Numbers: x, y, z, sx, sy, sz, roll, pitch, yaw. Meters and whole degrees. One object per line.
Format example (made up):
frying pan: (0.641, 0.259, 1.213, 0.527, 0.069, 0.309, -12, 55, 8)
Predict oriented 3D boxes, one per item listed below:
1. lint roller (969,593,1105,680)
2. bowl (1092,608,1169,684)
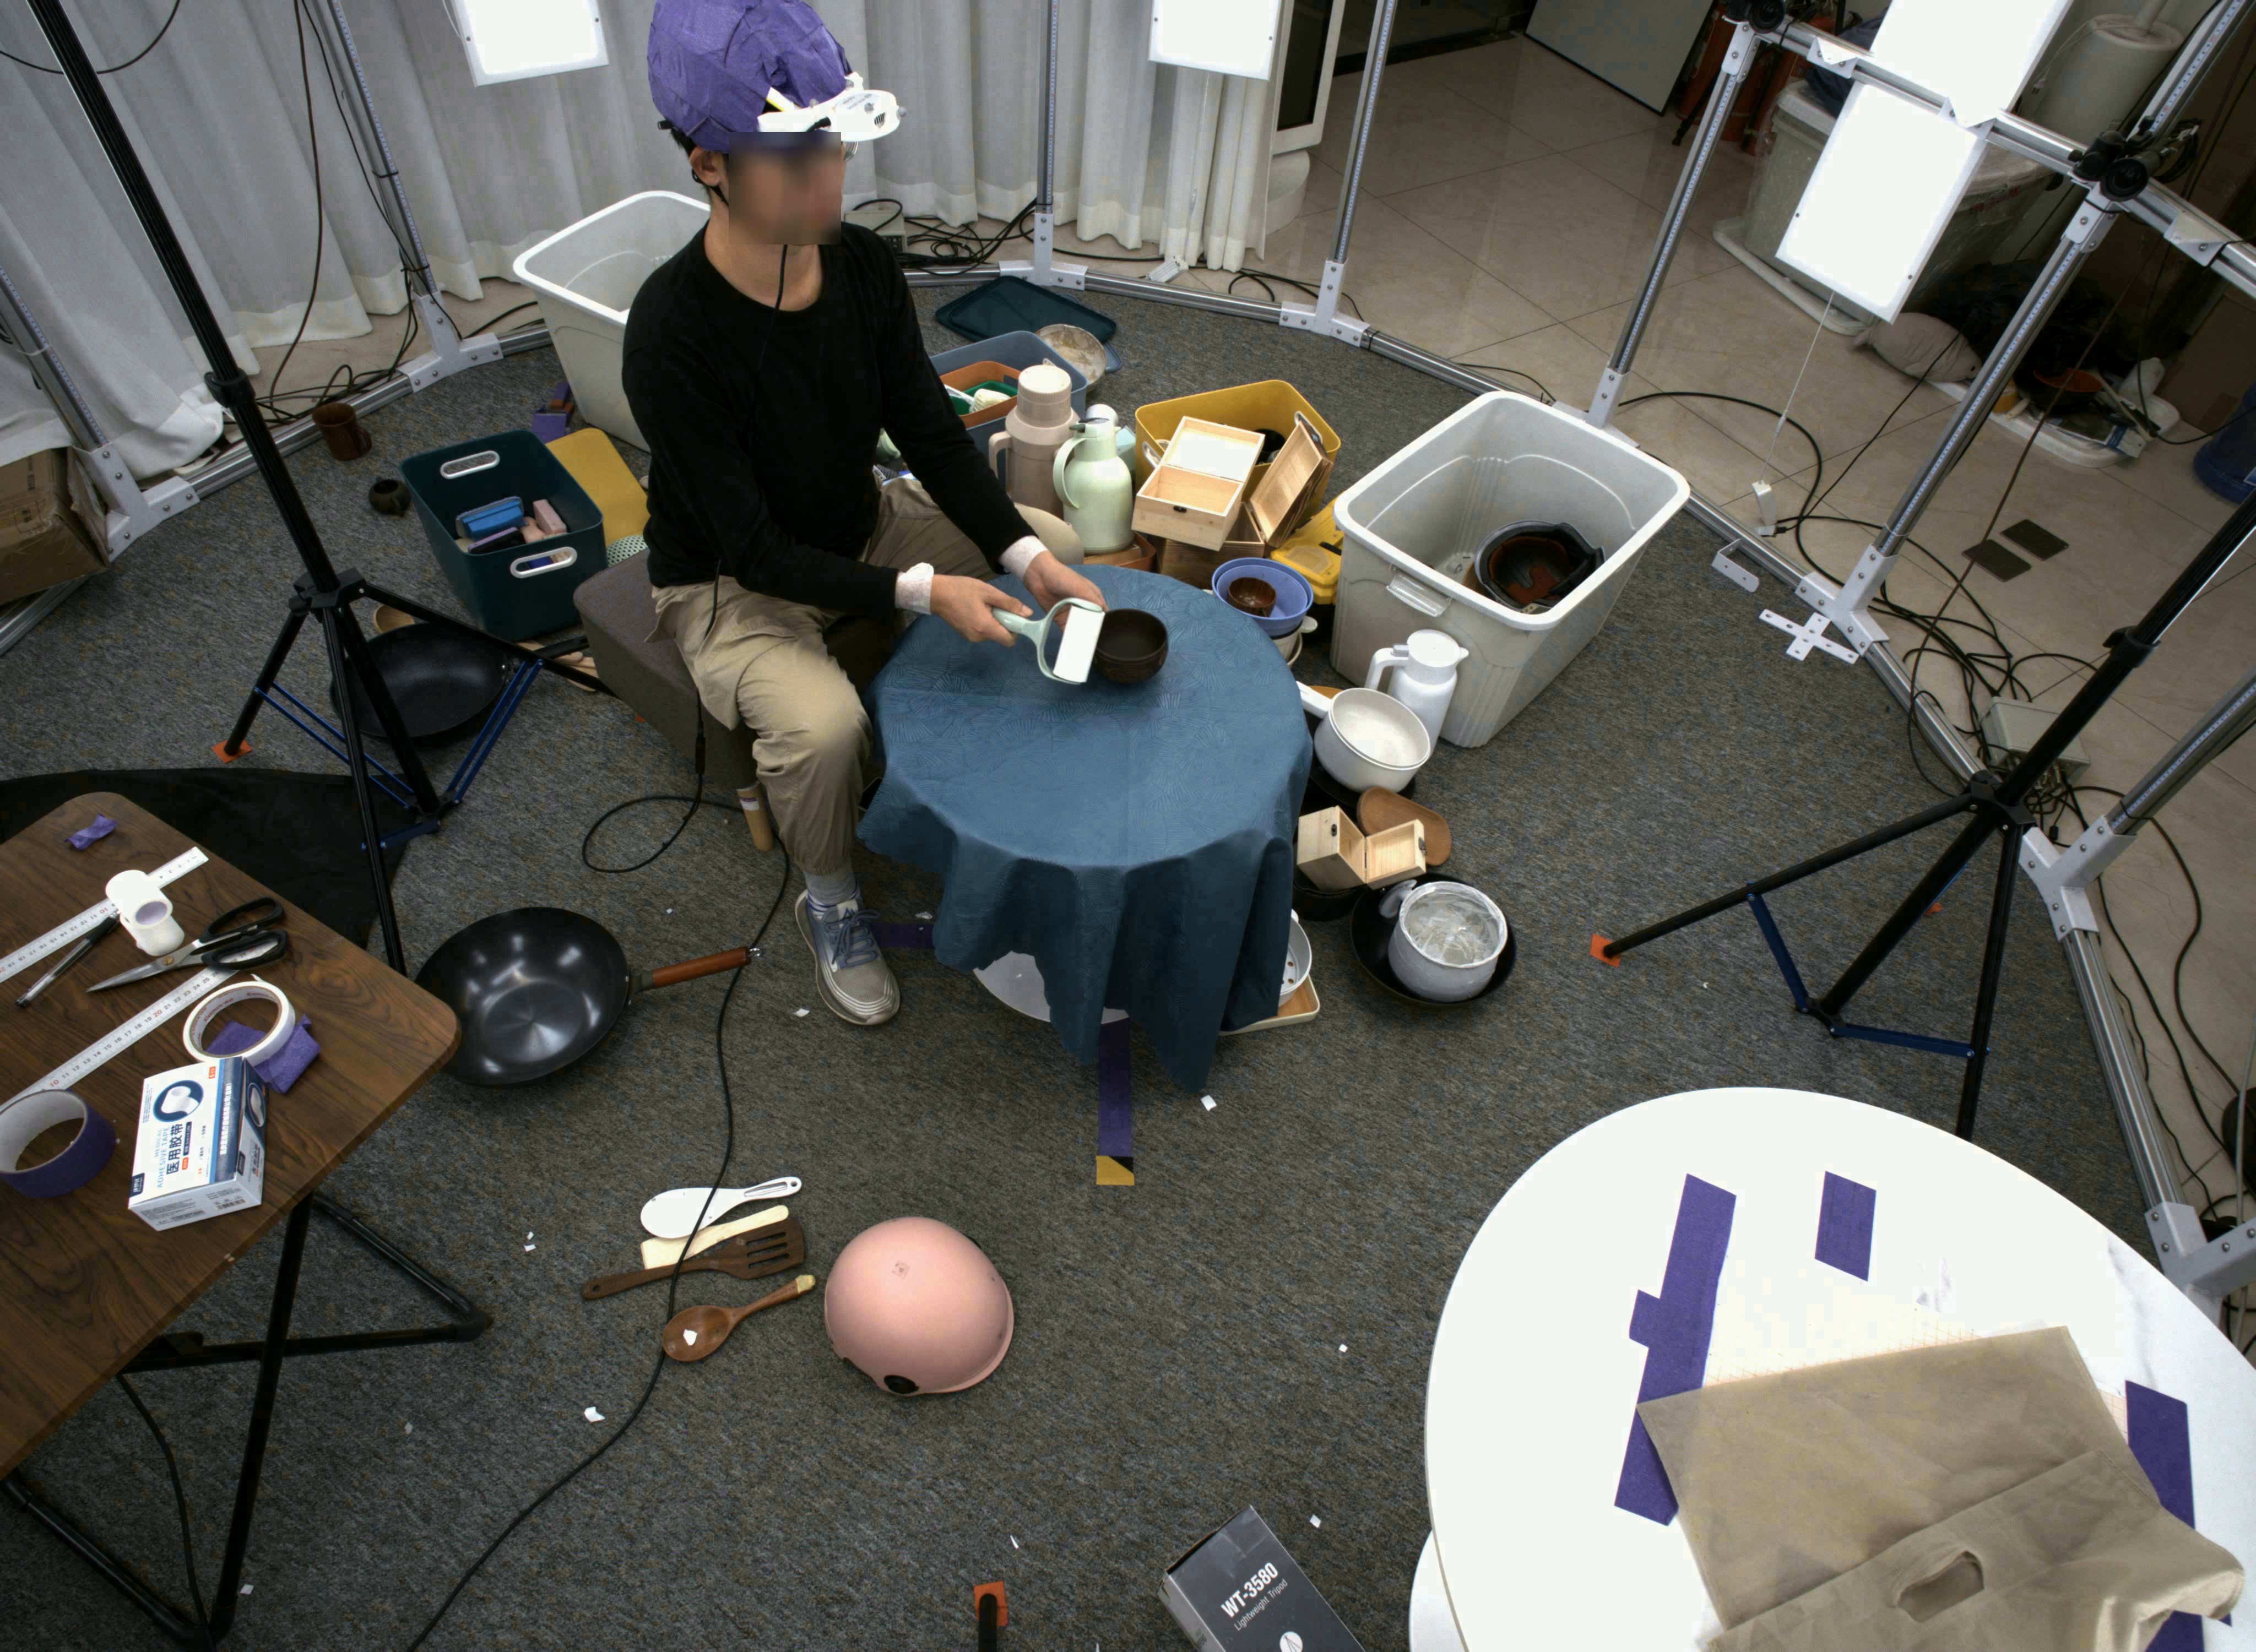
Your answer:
lint roller: (-0.134, -0.284, 1.792, 0.198, 0.115, 0.049, 19, 16, 10)
bowl: (-0.001, -0.250, 1.839, 0.118, 0.068, 0.121, 1, 48, -1)
